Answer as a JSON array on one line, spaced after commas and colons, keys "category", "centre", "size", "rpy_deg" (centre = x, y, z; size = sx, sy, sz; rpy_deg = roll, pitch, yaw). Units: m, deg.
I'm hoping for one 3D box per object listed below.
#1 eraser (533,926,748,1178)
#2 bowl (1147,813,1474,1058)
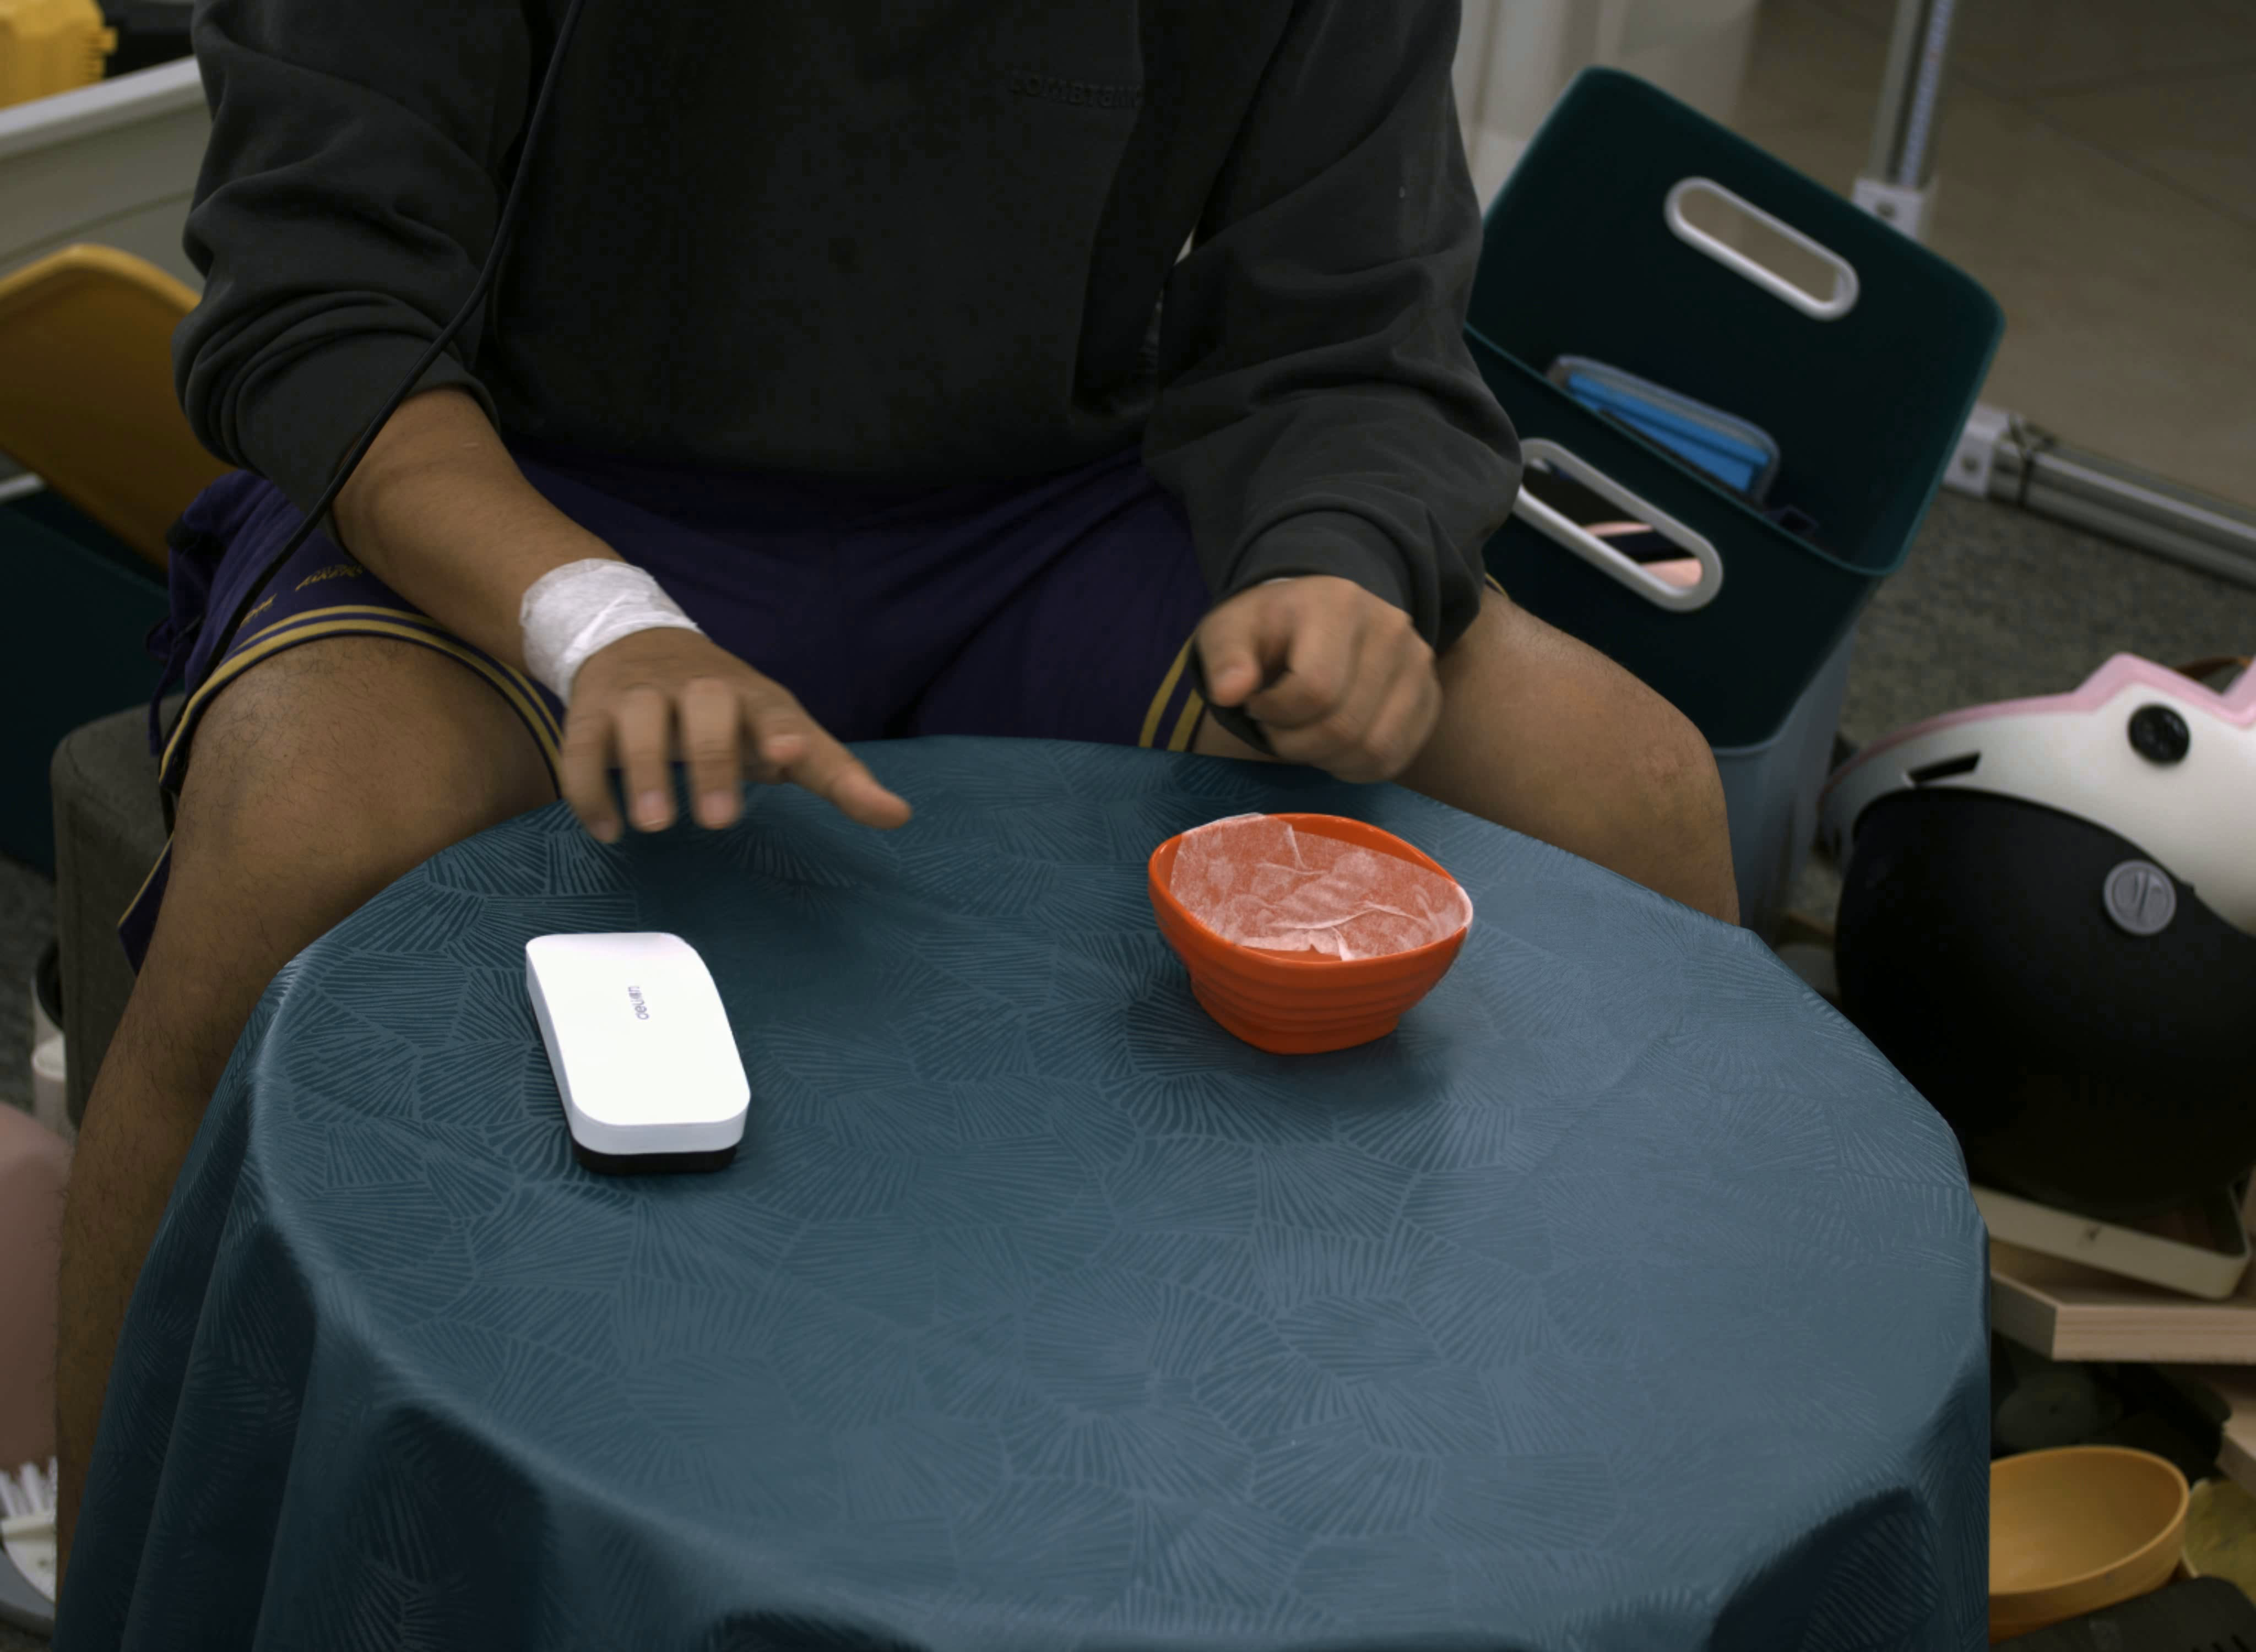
[{"category": "eraser", "centre": [-0.168, 0.074, 1.826], "size": [0.063, 0.034, 0.132], "rpy_deg": [1, 29, -14]}, {"category": "bowl", "centre": [0.063, 0.043, 1.917], "size": [0.118, 0.051, 0.119], "rpy_deg": [4, 27, -3]}]
